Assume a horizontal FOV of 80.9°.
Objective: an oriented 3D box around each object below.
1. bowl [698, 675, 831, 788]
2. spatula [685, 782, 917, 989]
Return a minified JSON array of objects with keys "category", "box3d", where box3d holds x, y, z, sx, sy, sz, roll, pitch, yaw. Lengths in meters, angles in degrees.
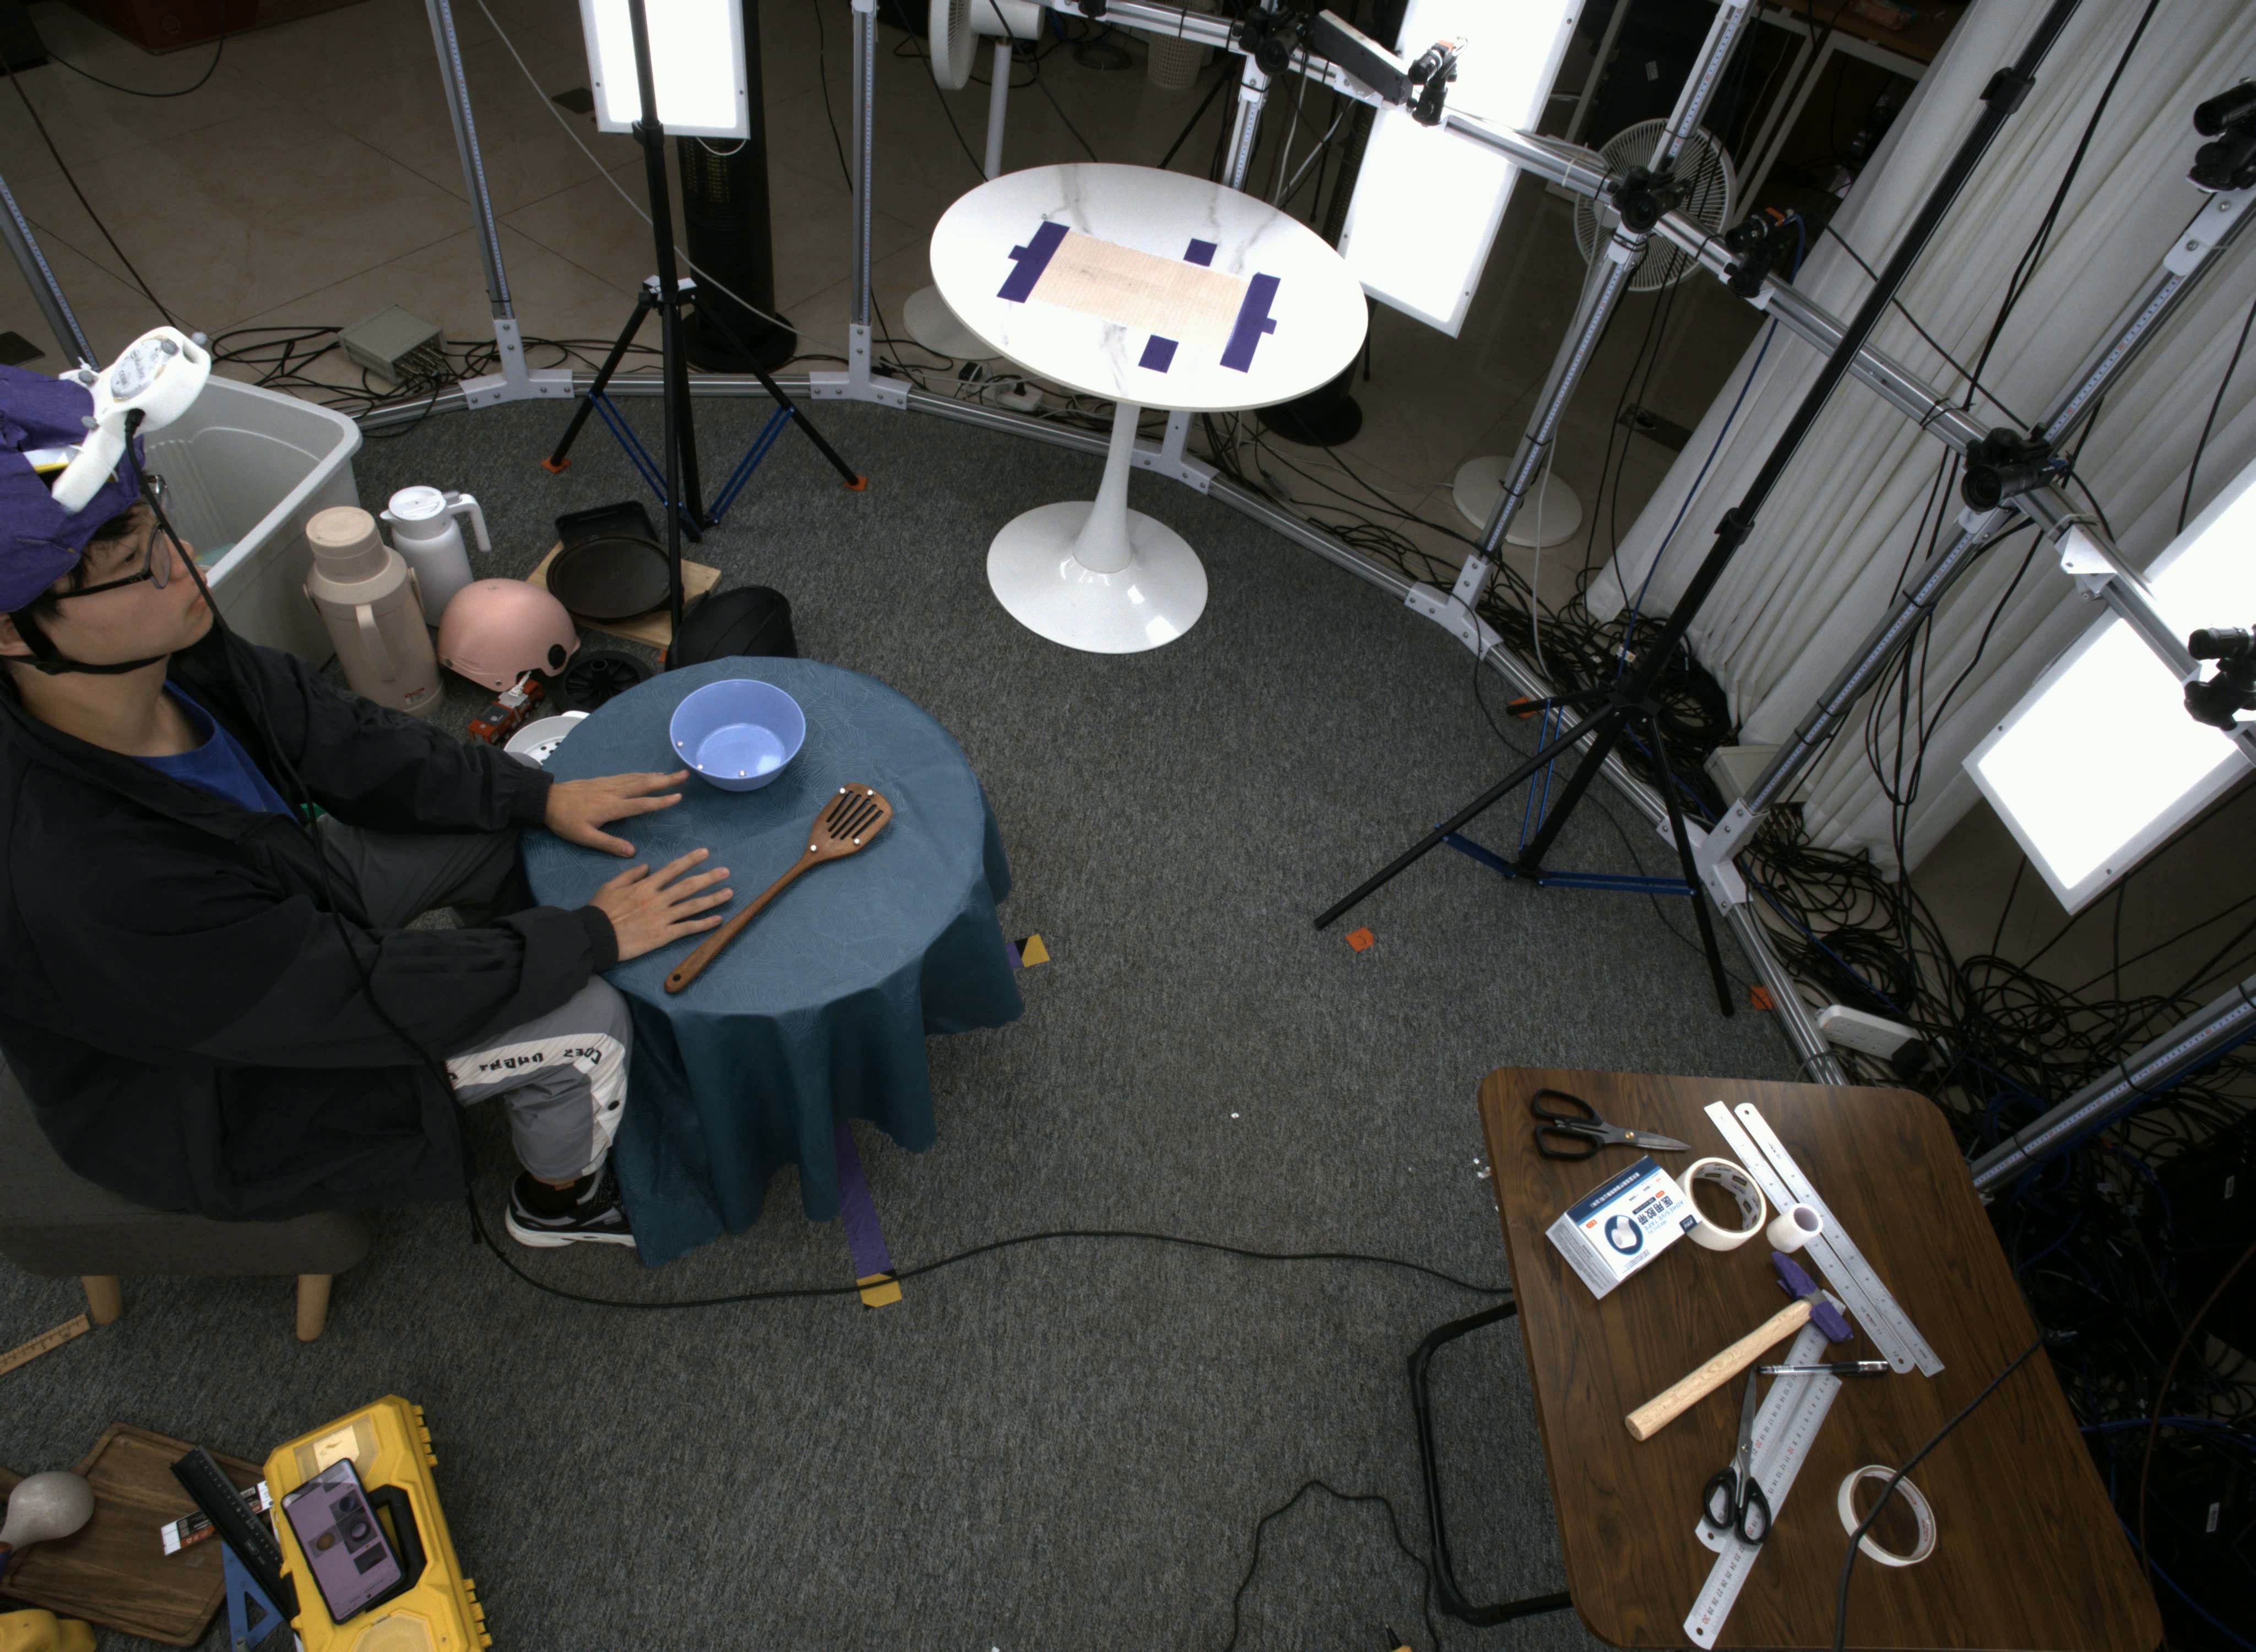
[{"category":"bowl","box3d":[-0.492,-0.118,1.759,0.175,0.072,0.173,7,53,-7]},{"category":"spatula","box3d":[-0.421,0.075,1.666,0.084,0.024,0.386,35,55,13]}]
